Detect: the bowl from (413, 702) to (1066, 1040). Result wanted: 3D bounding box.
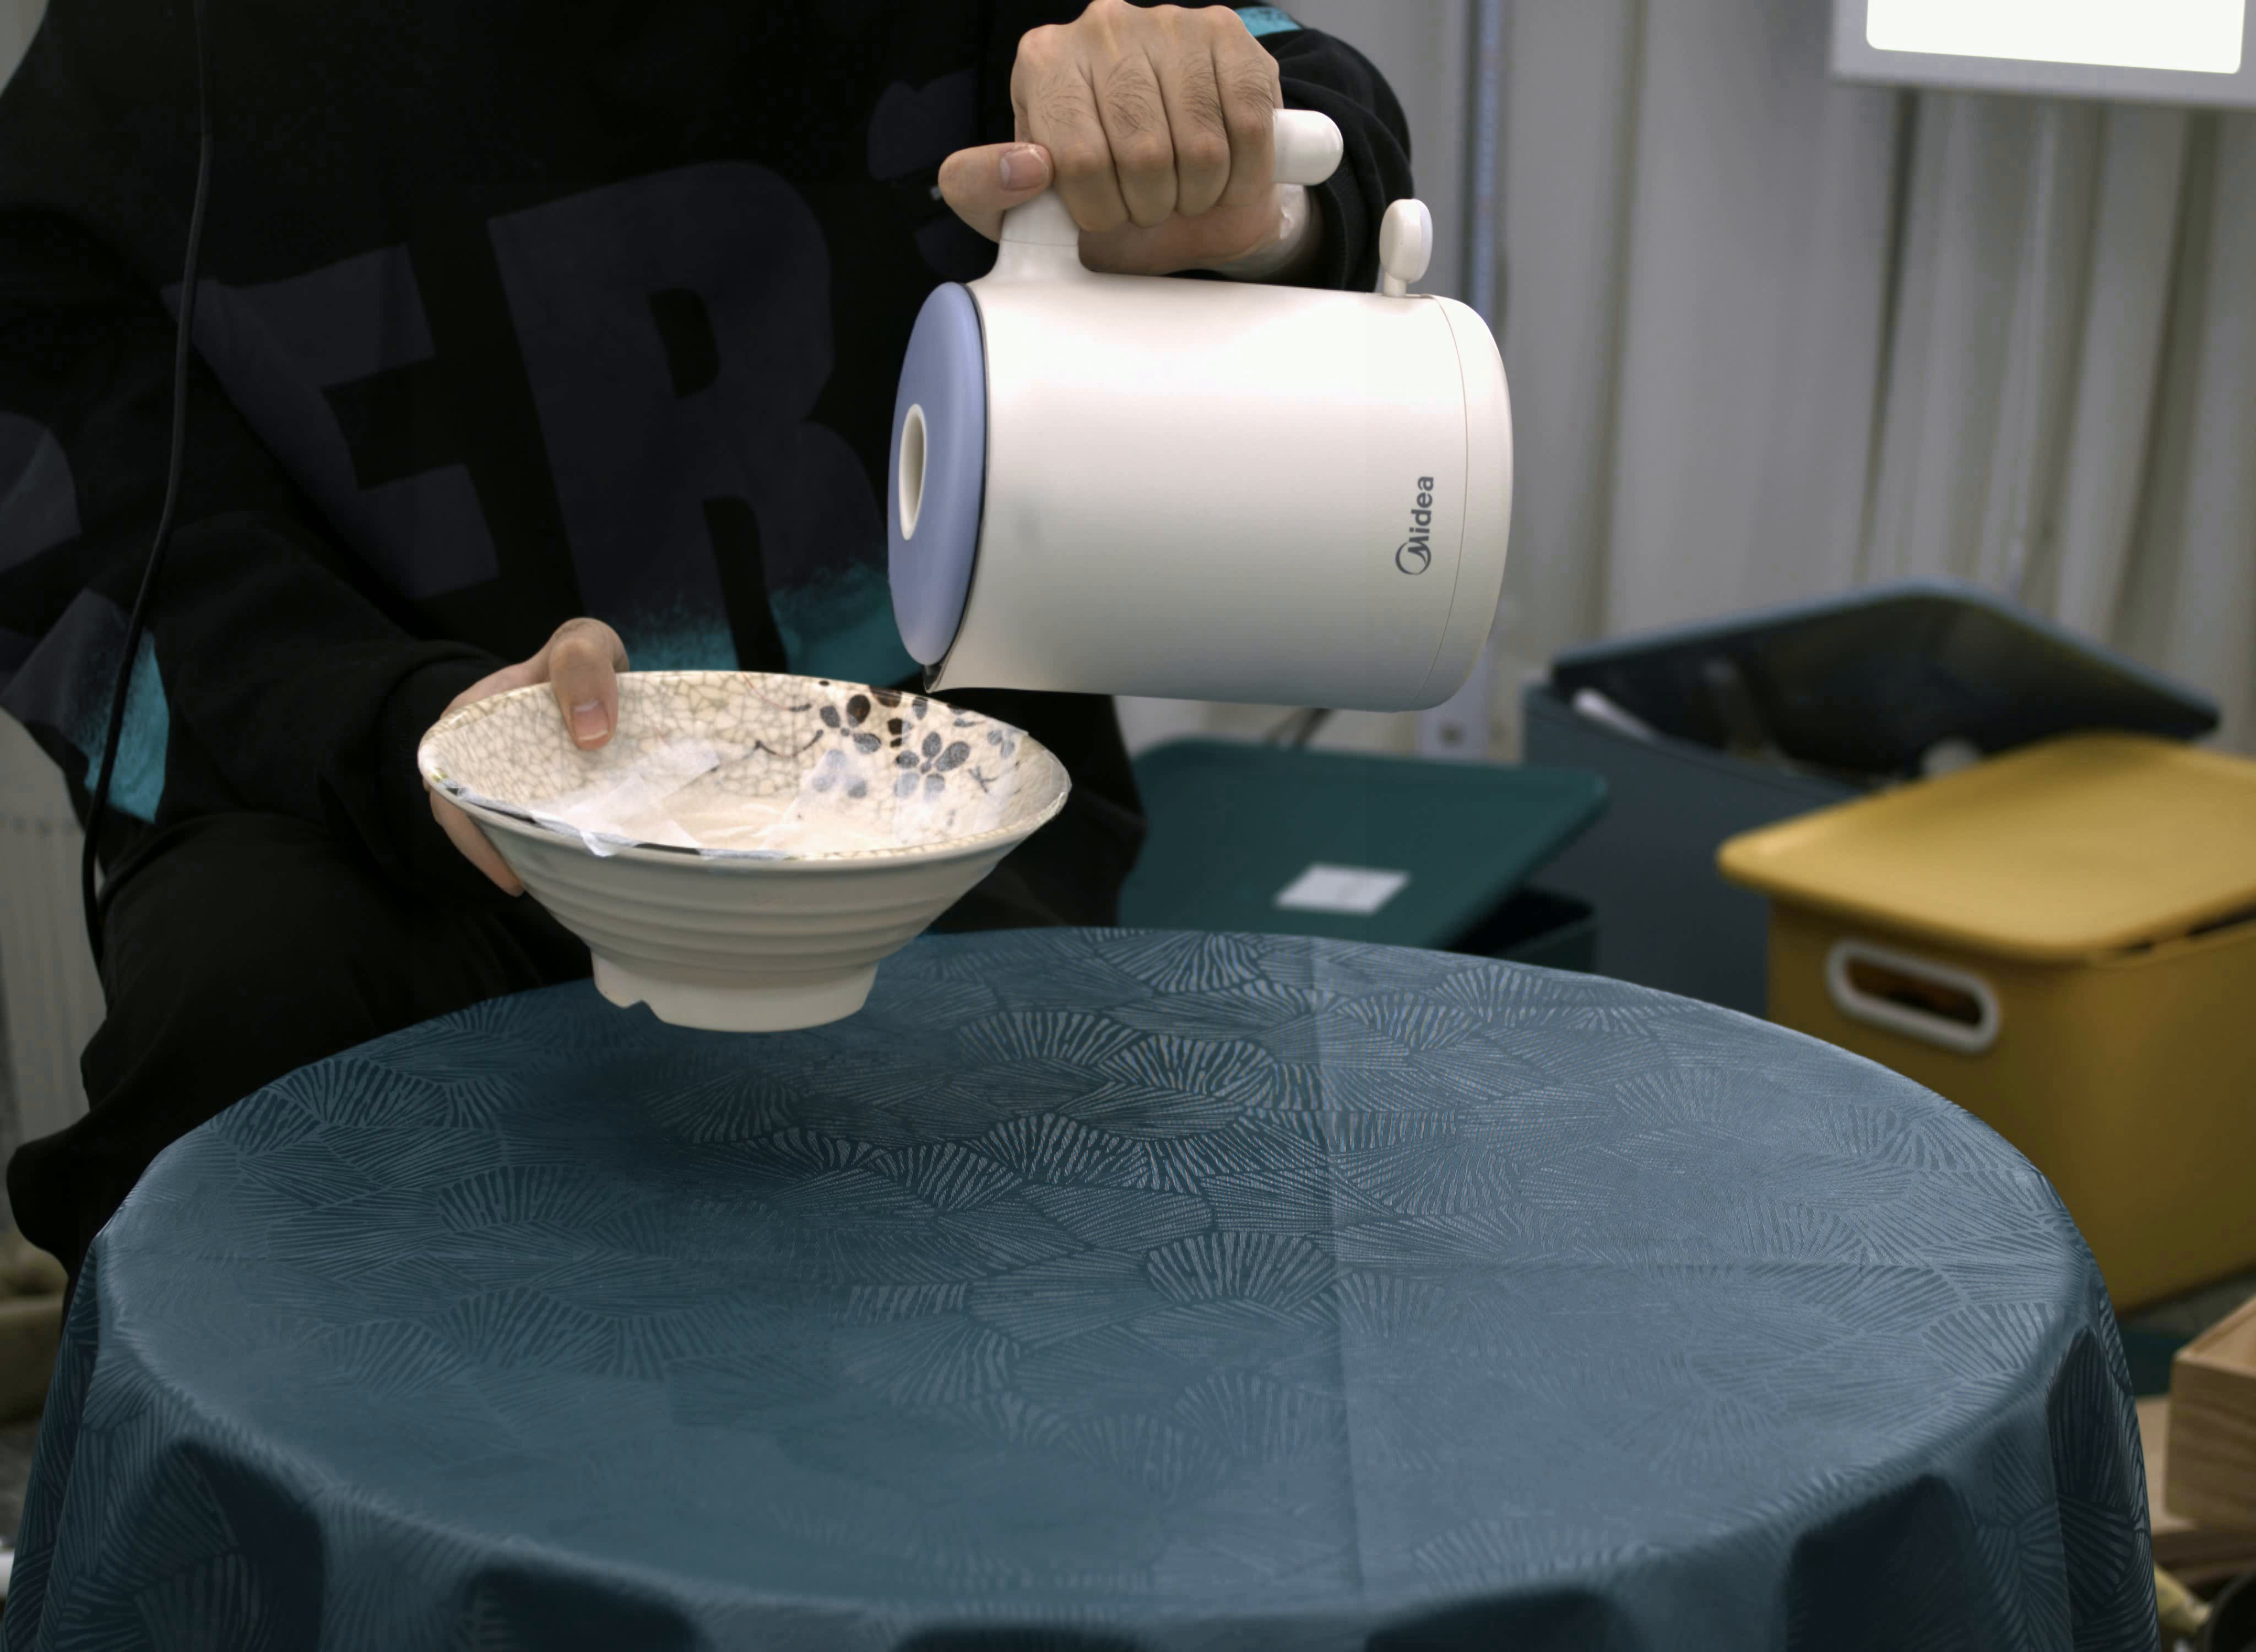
[{"bbox_3d":[-0.122,0.019,1.644,0.203,0.078,0.203,4,12,0],"label":"bowl"}]

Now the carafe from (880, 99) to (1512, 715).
[{"bbox_3d":[0.023,-0.130,1.629,0.183,0.192,0.131,5,7,-15],"label":"carafe"}]
